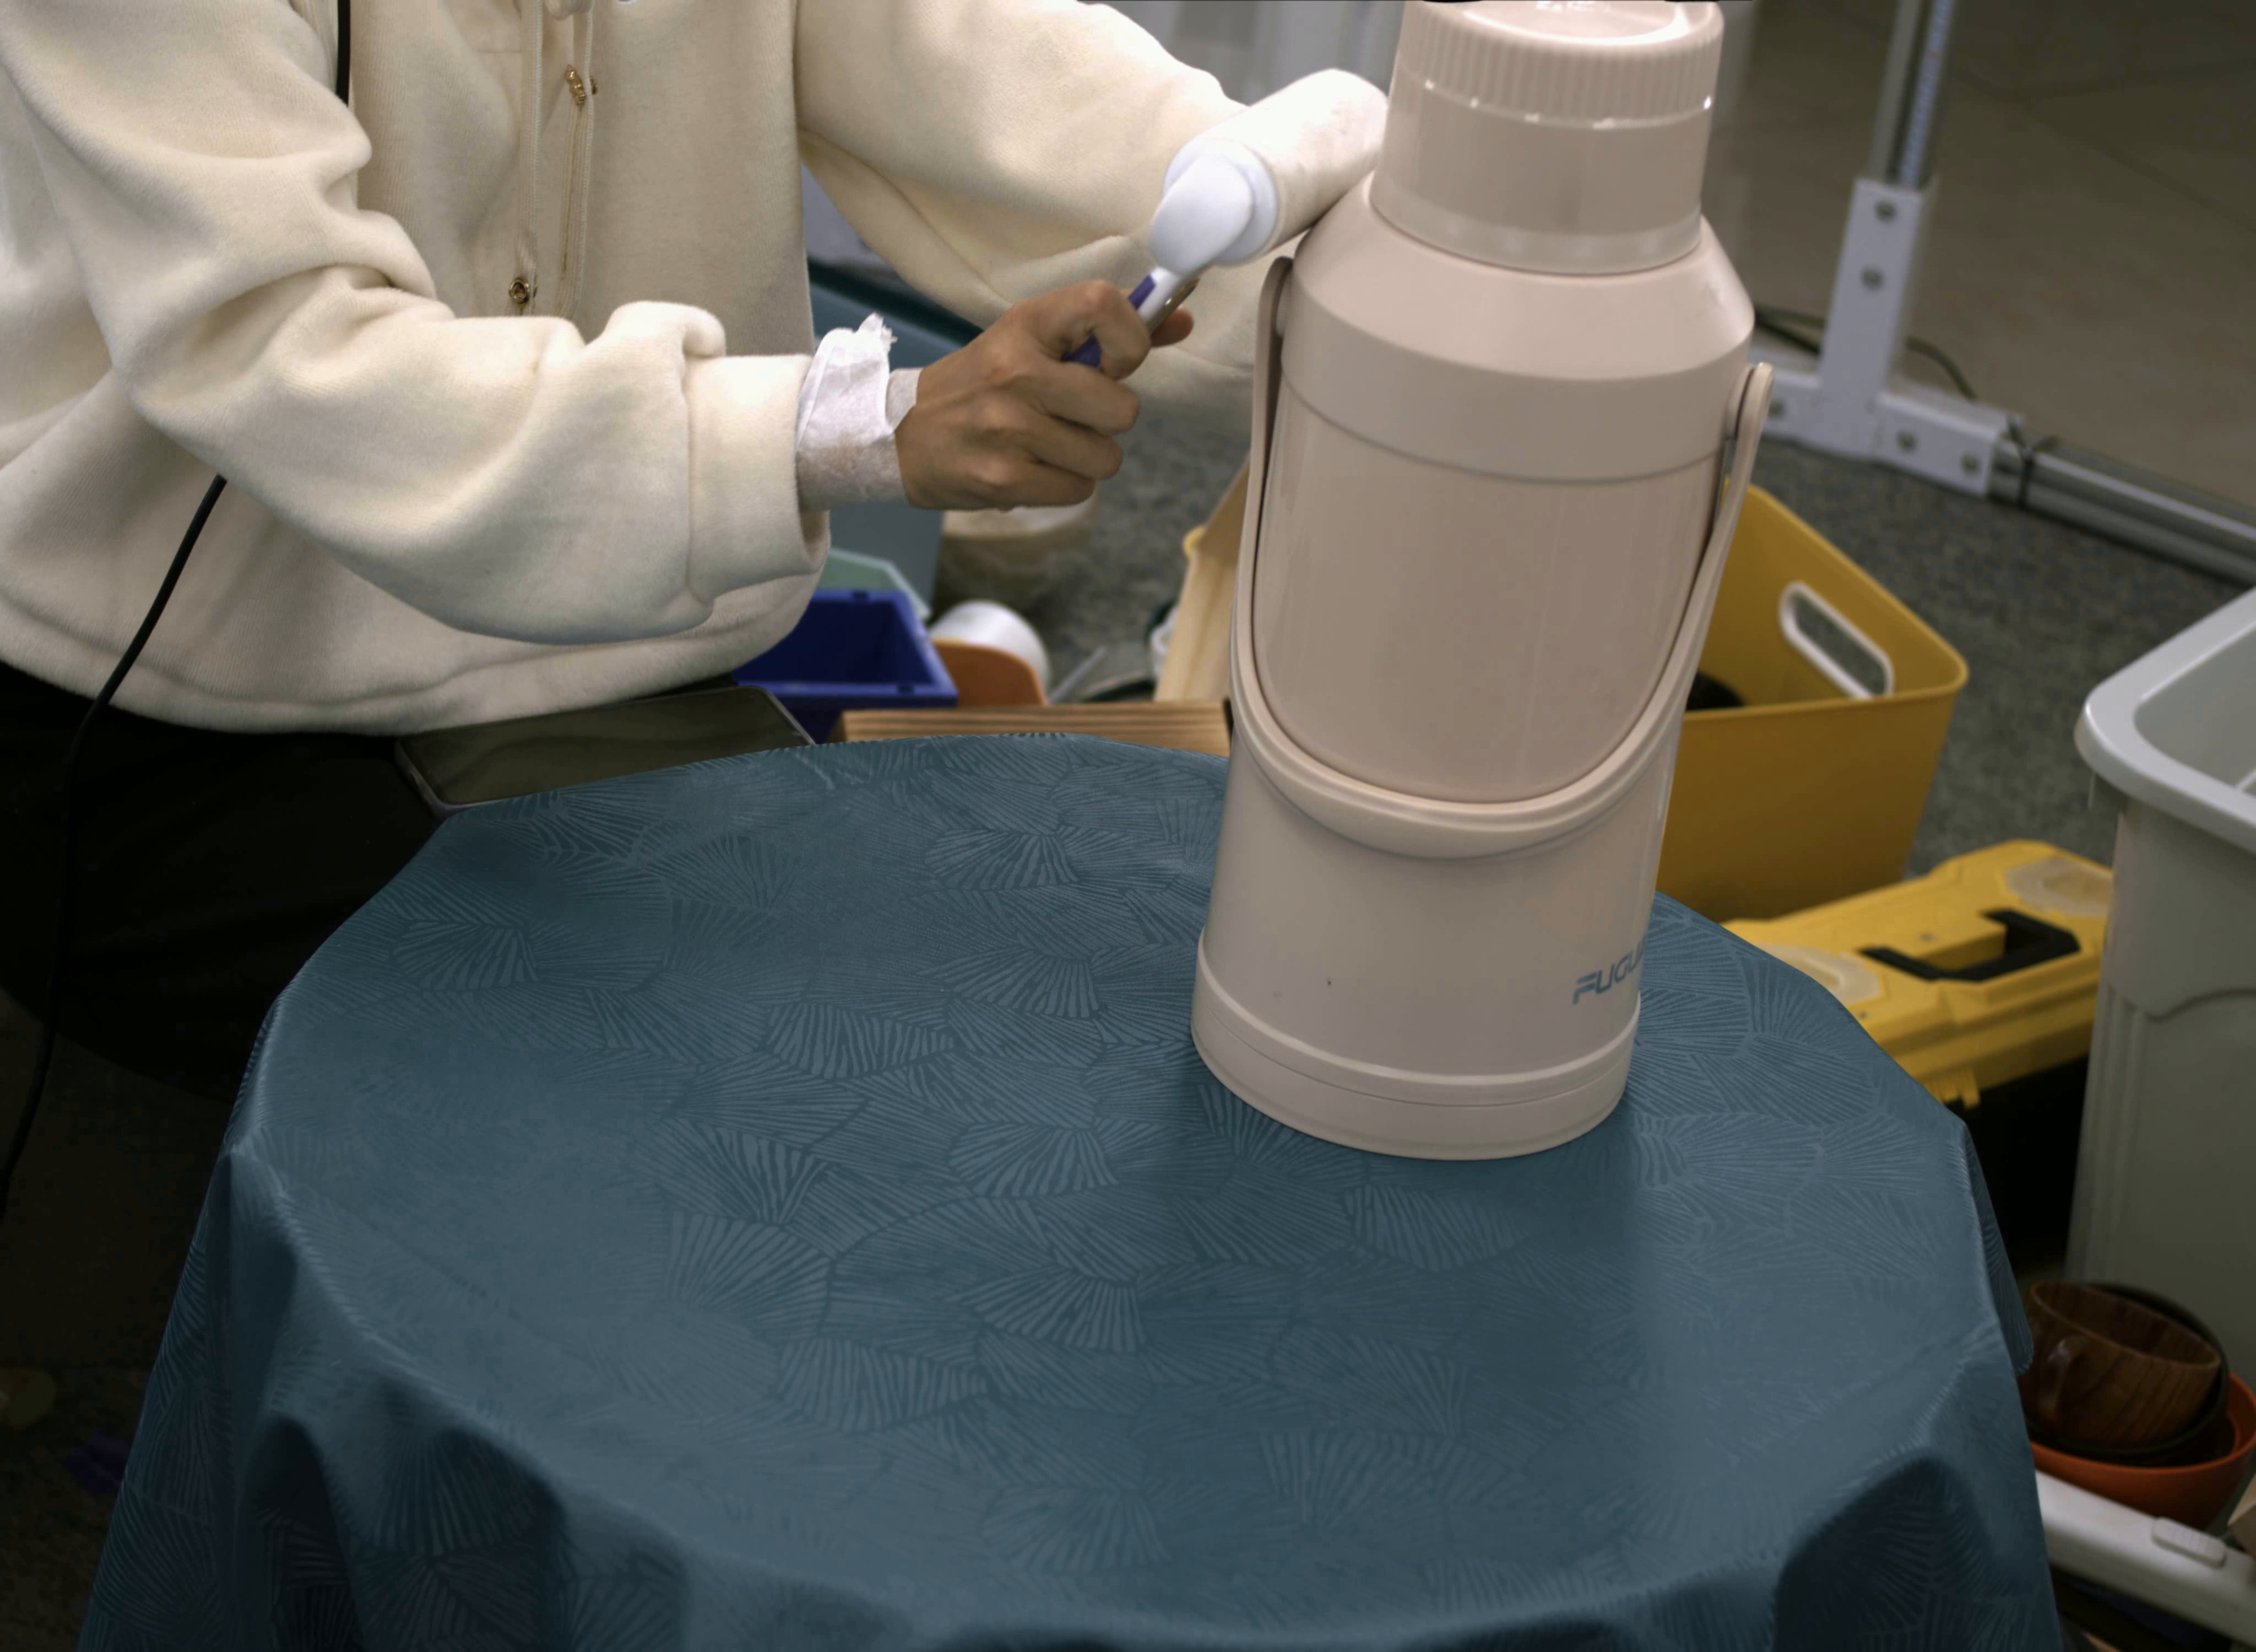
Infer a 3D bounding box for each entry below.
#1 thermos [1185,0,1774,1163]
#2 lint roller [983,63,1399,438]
[{"bbox_3d":[0.127,-0.100,1.834,0.175,0.405,0.207,13,27,14],"label":"thermos"},{"bbox_3d":[0.007,-0.197,1.845,0.181,0.050,0.133,-31,4,34],"label":"lint roller"}]
